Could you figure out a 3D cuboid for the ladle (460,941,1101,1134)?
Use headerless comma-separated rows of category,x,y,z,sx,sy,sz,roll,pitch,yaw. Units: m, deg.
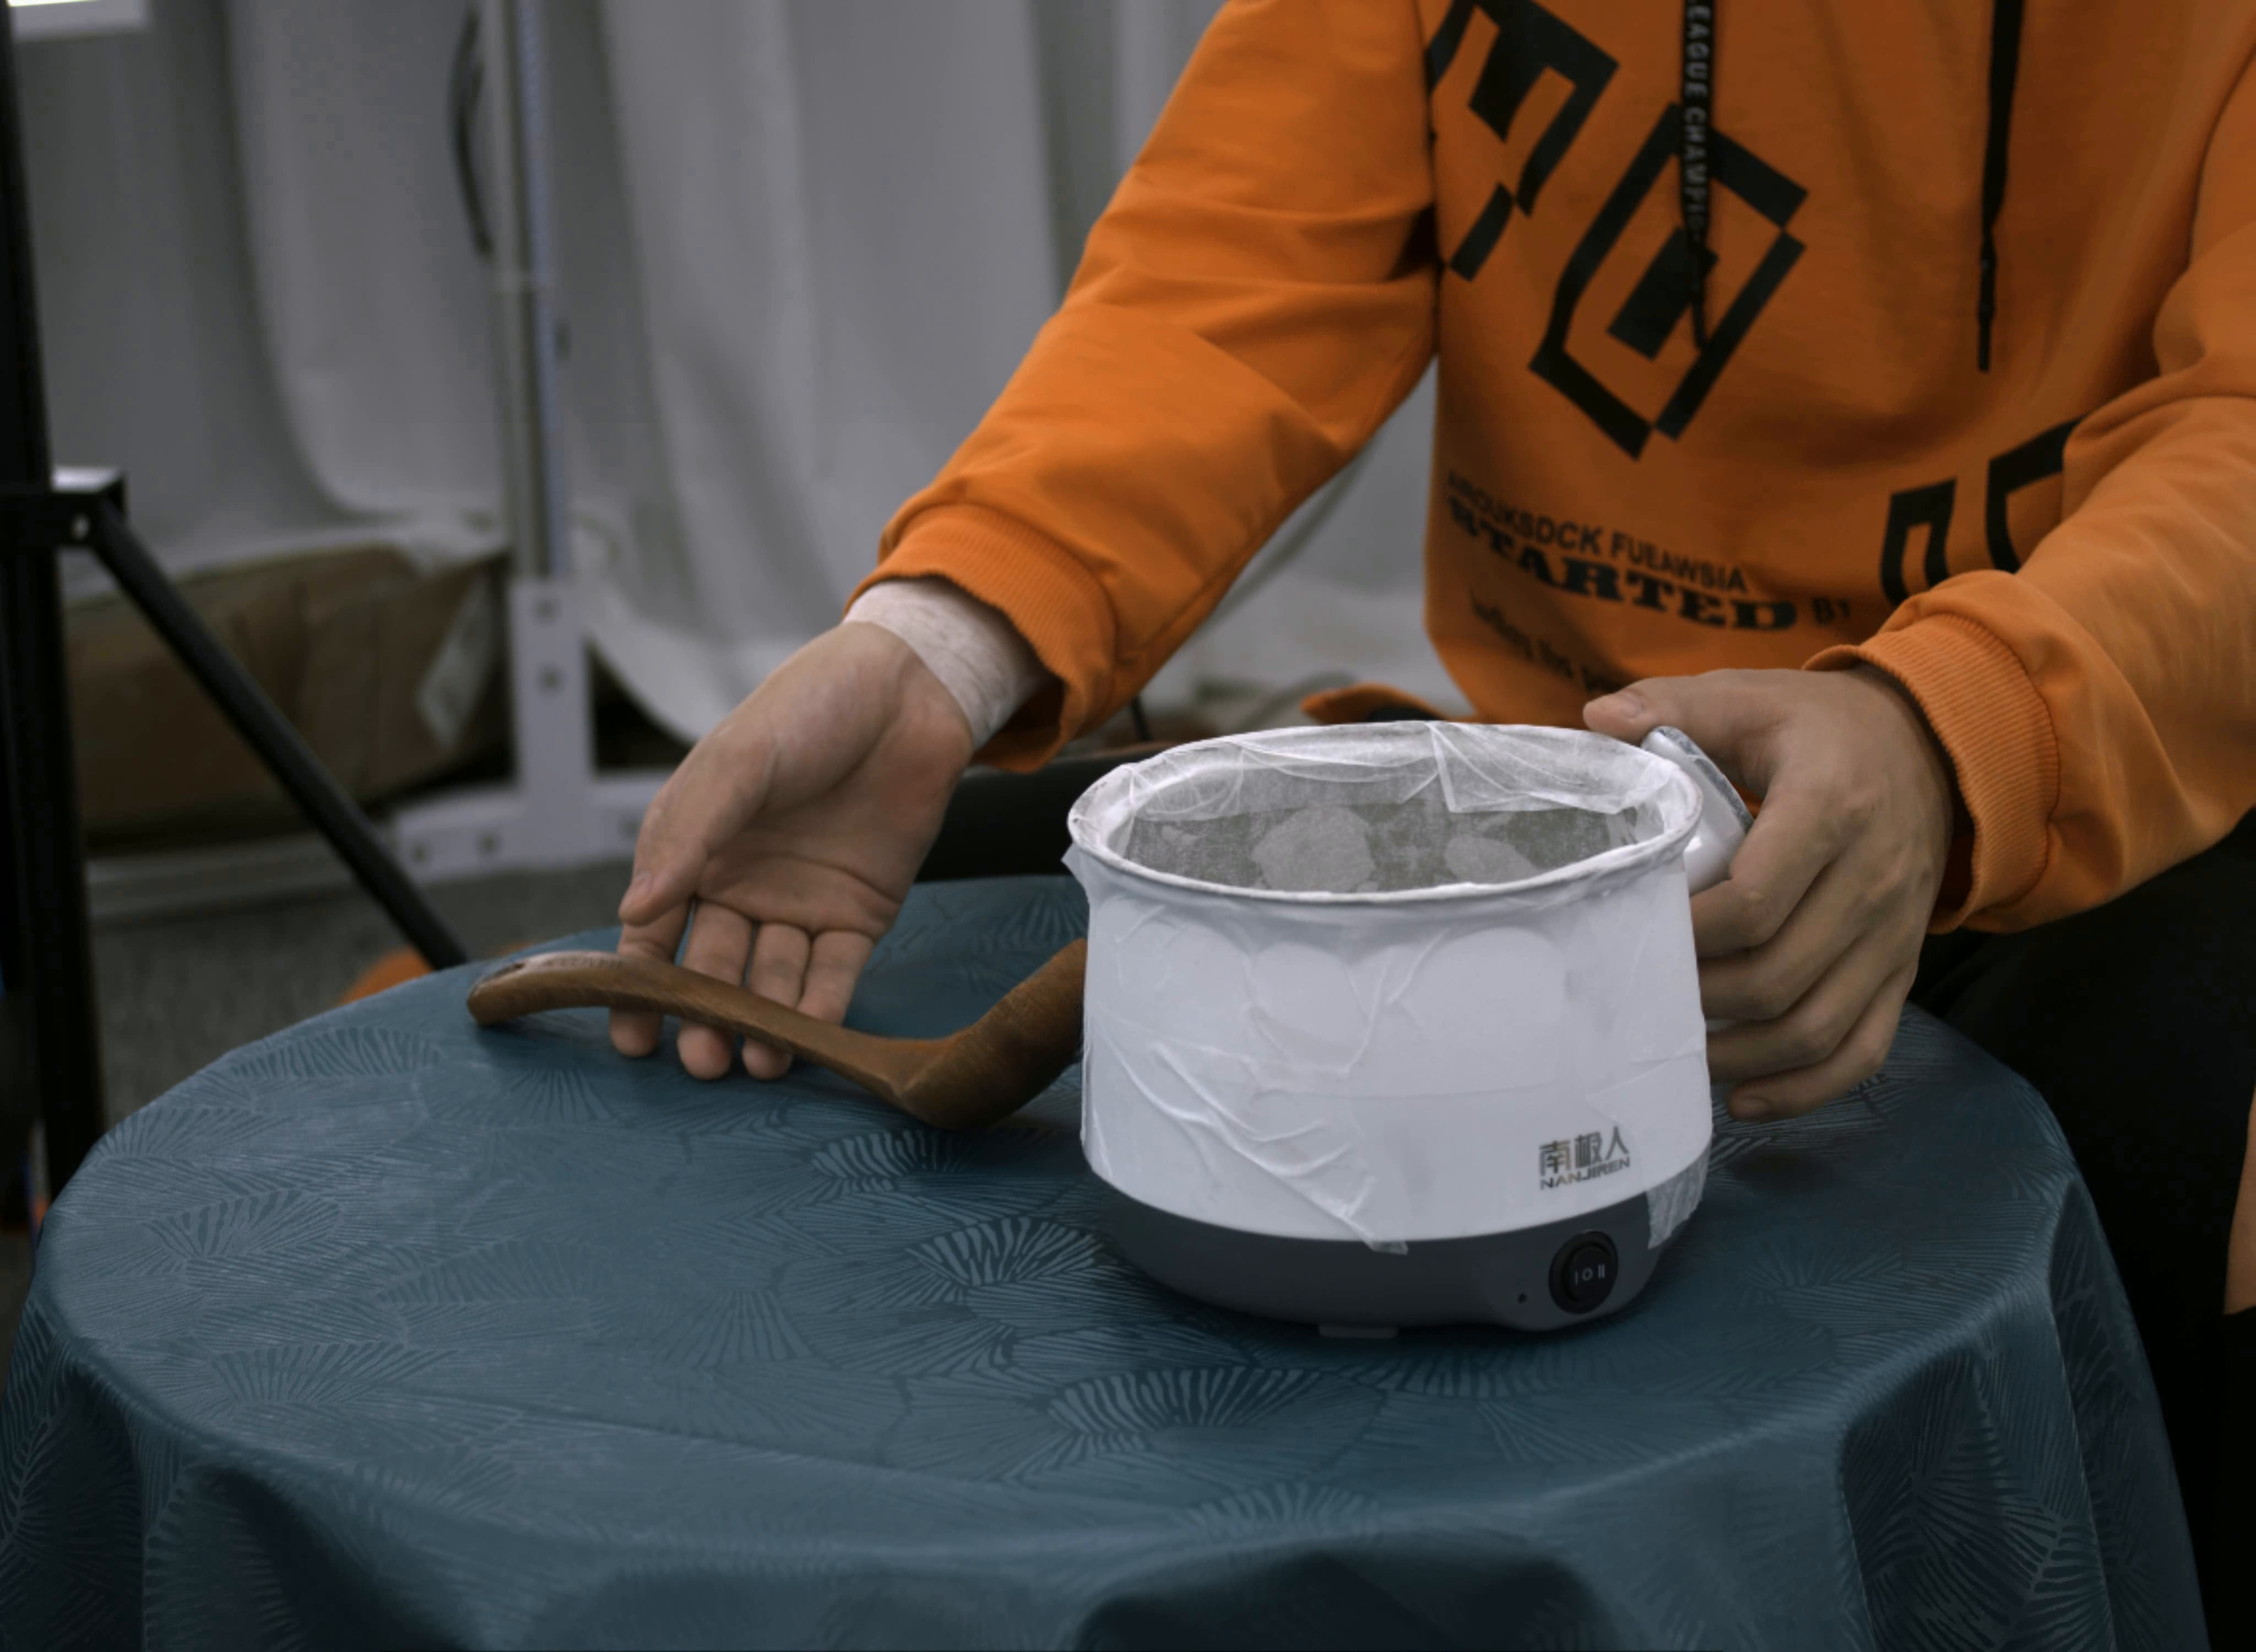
ladle,-0.114,0.051,1.663,0.266,0.065,0.075,11,26,38

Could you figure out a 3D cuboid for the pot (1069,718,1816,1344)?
pot,0.097,0.050,1.495,0.228,0.136,0.183,-13,19,-31
